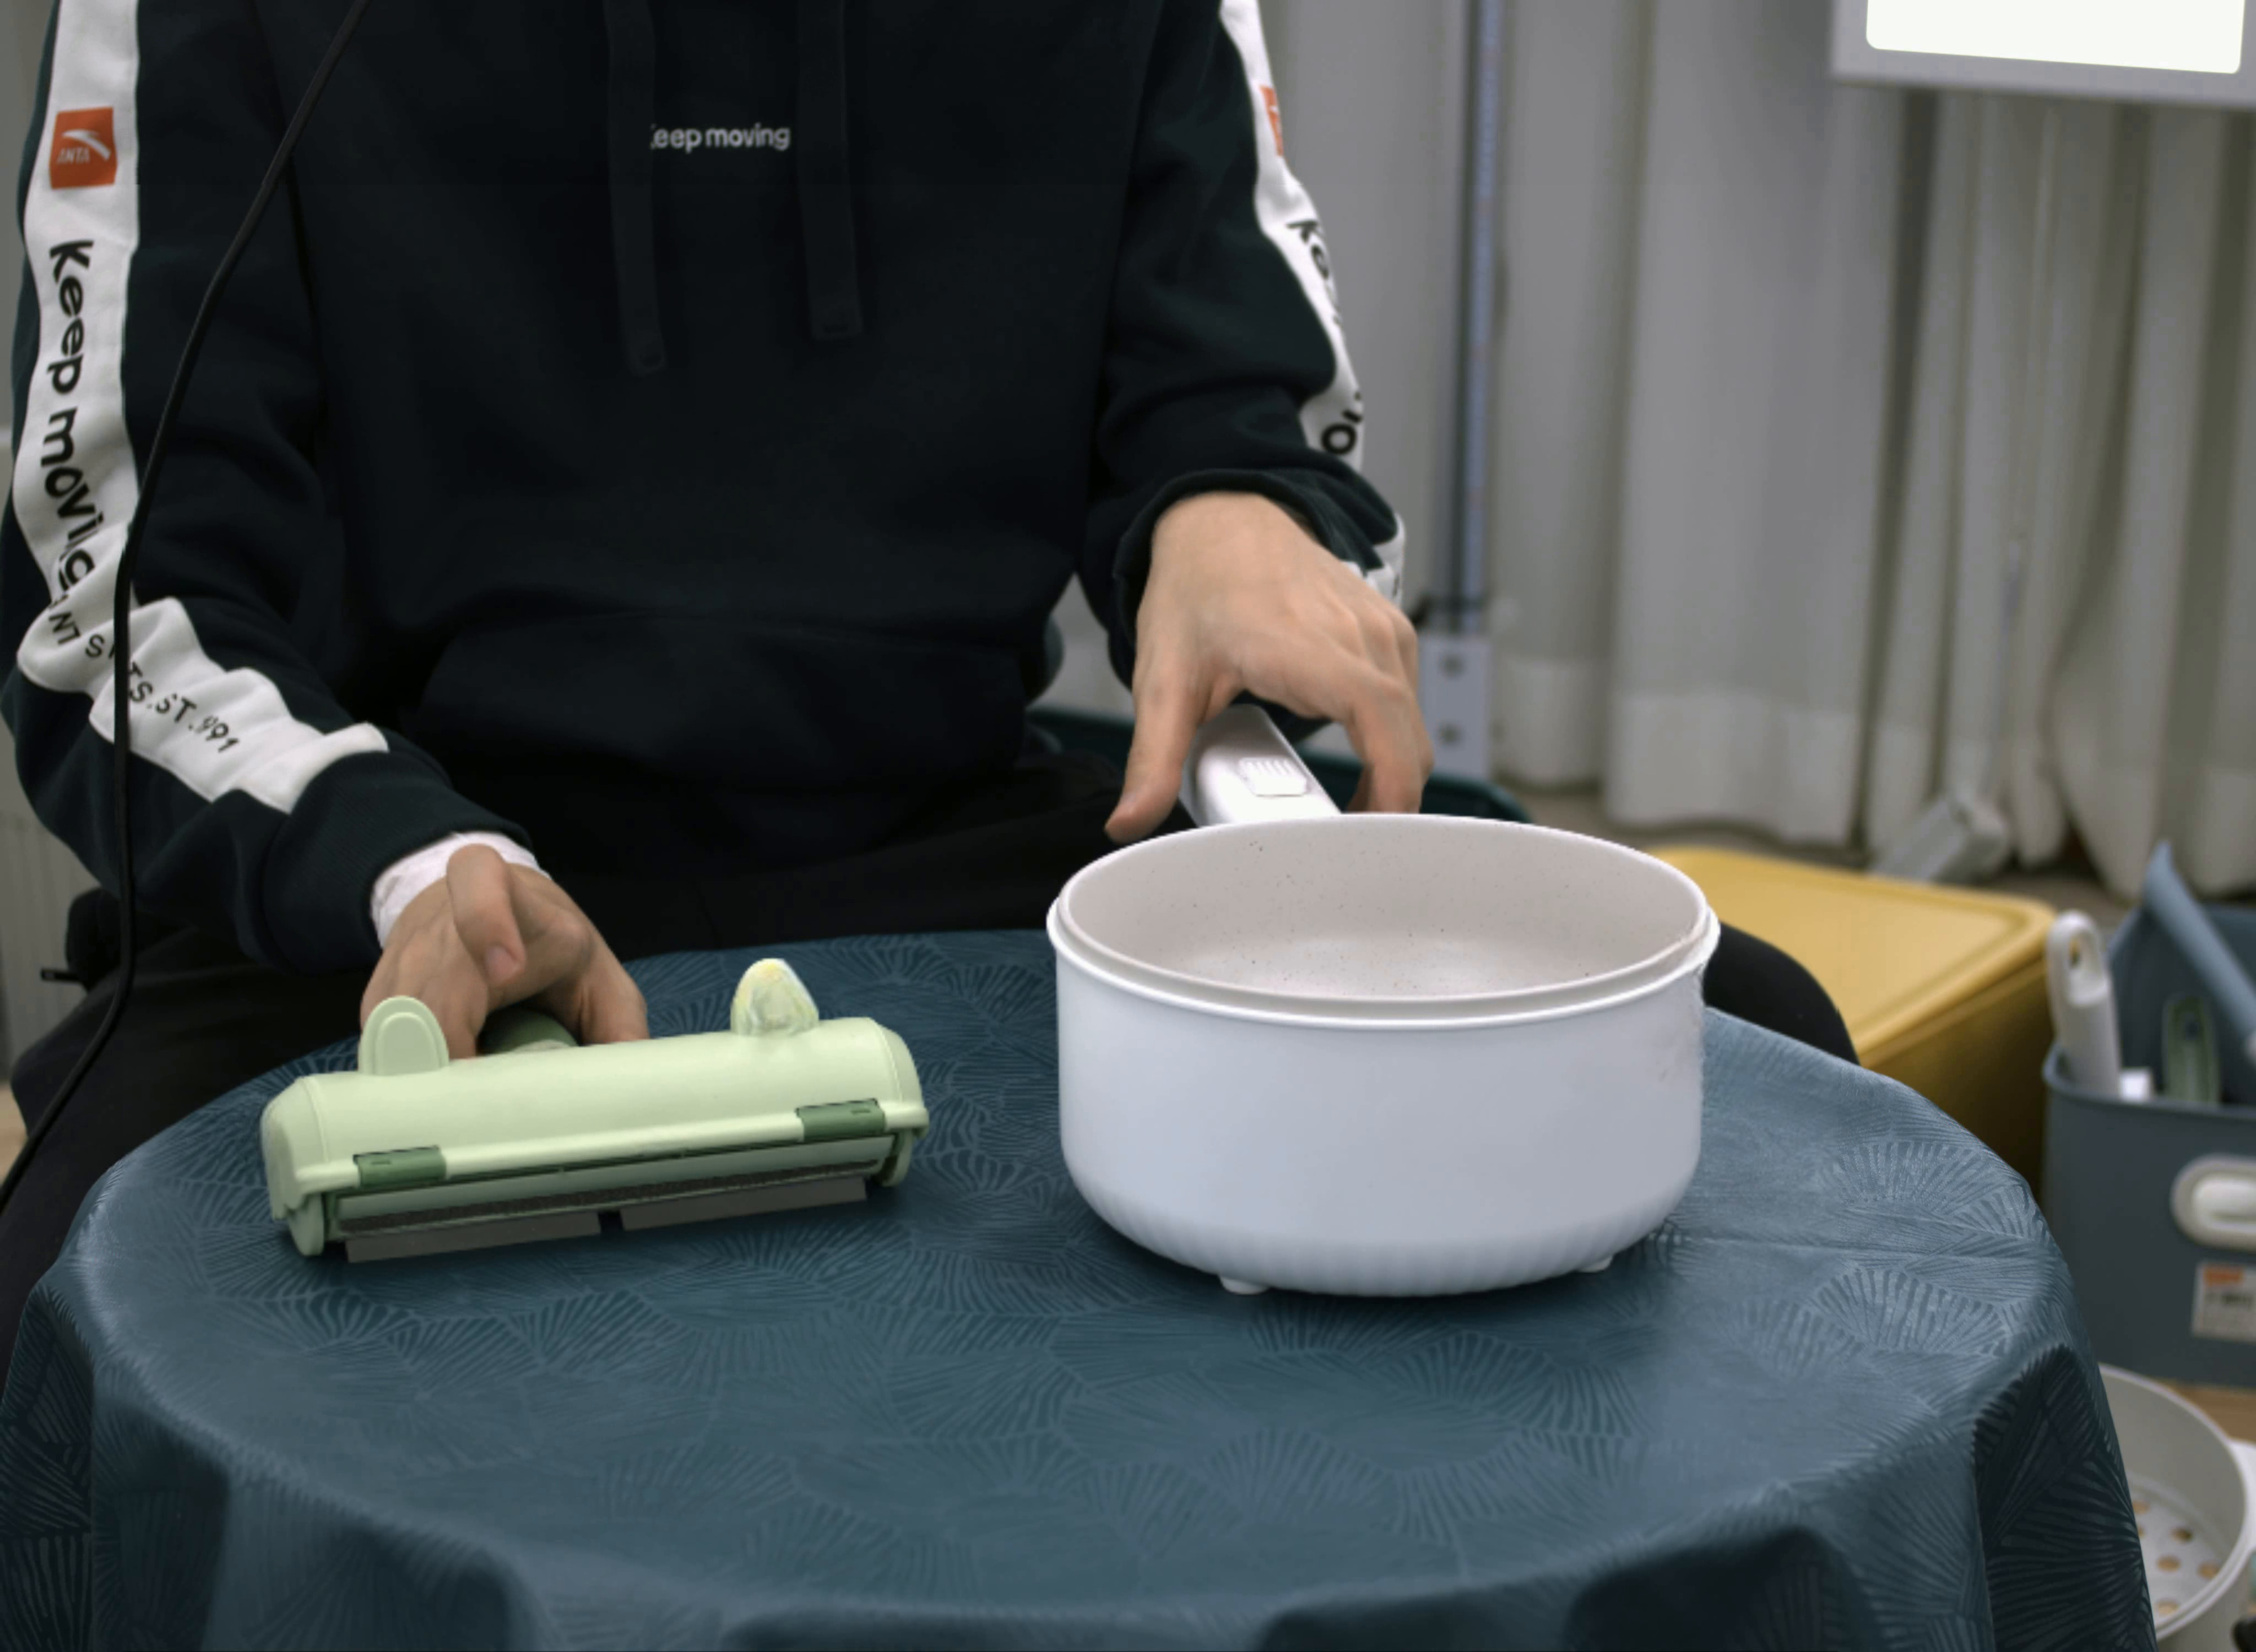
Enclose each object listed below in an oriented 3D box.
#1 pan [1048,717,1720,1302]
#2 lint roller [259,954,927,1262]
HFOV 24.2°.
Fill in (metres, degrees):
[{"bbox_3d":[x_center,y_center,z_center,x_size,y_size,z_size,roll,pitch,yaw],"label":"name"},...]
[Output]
[{"bbox_3d":[0.064,0.053,1.656,0.201,0.103,0.352,-4,15,-10],"label":"pan"},{"bbox_3d":[-0.179,0.068,1.631,0.199,0.083,0.181,-6,22,-20],"label":"lint roller"}]
